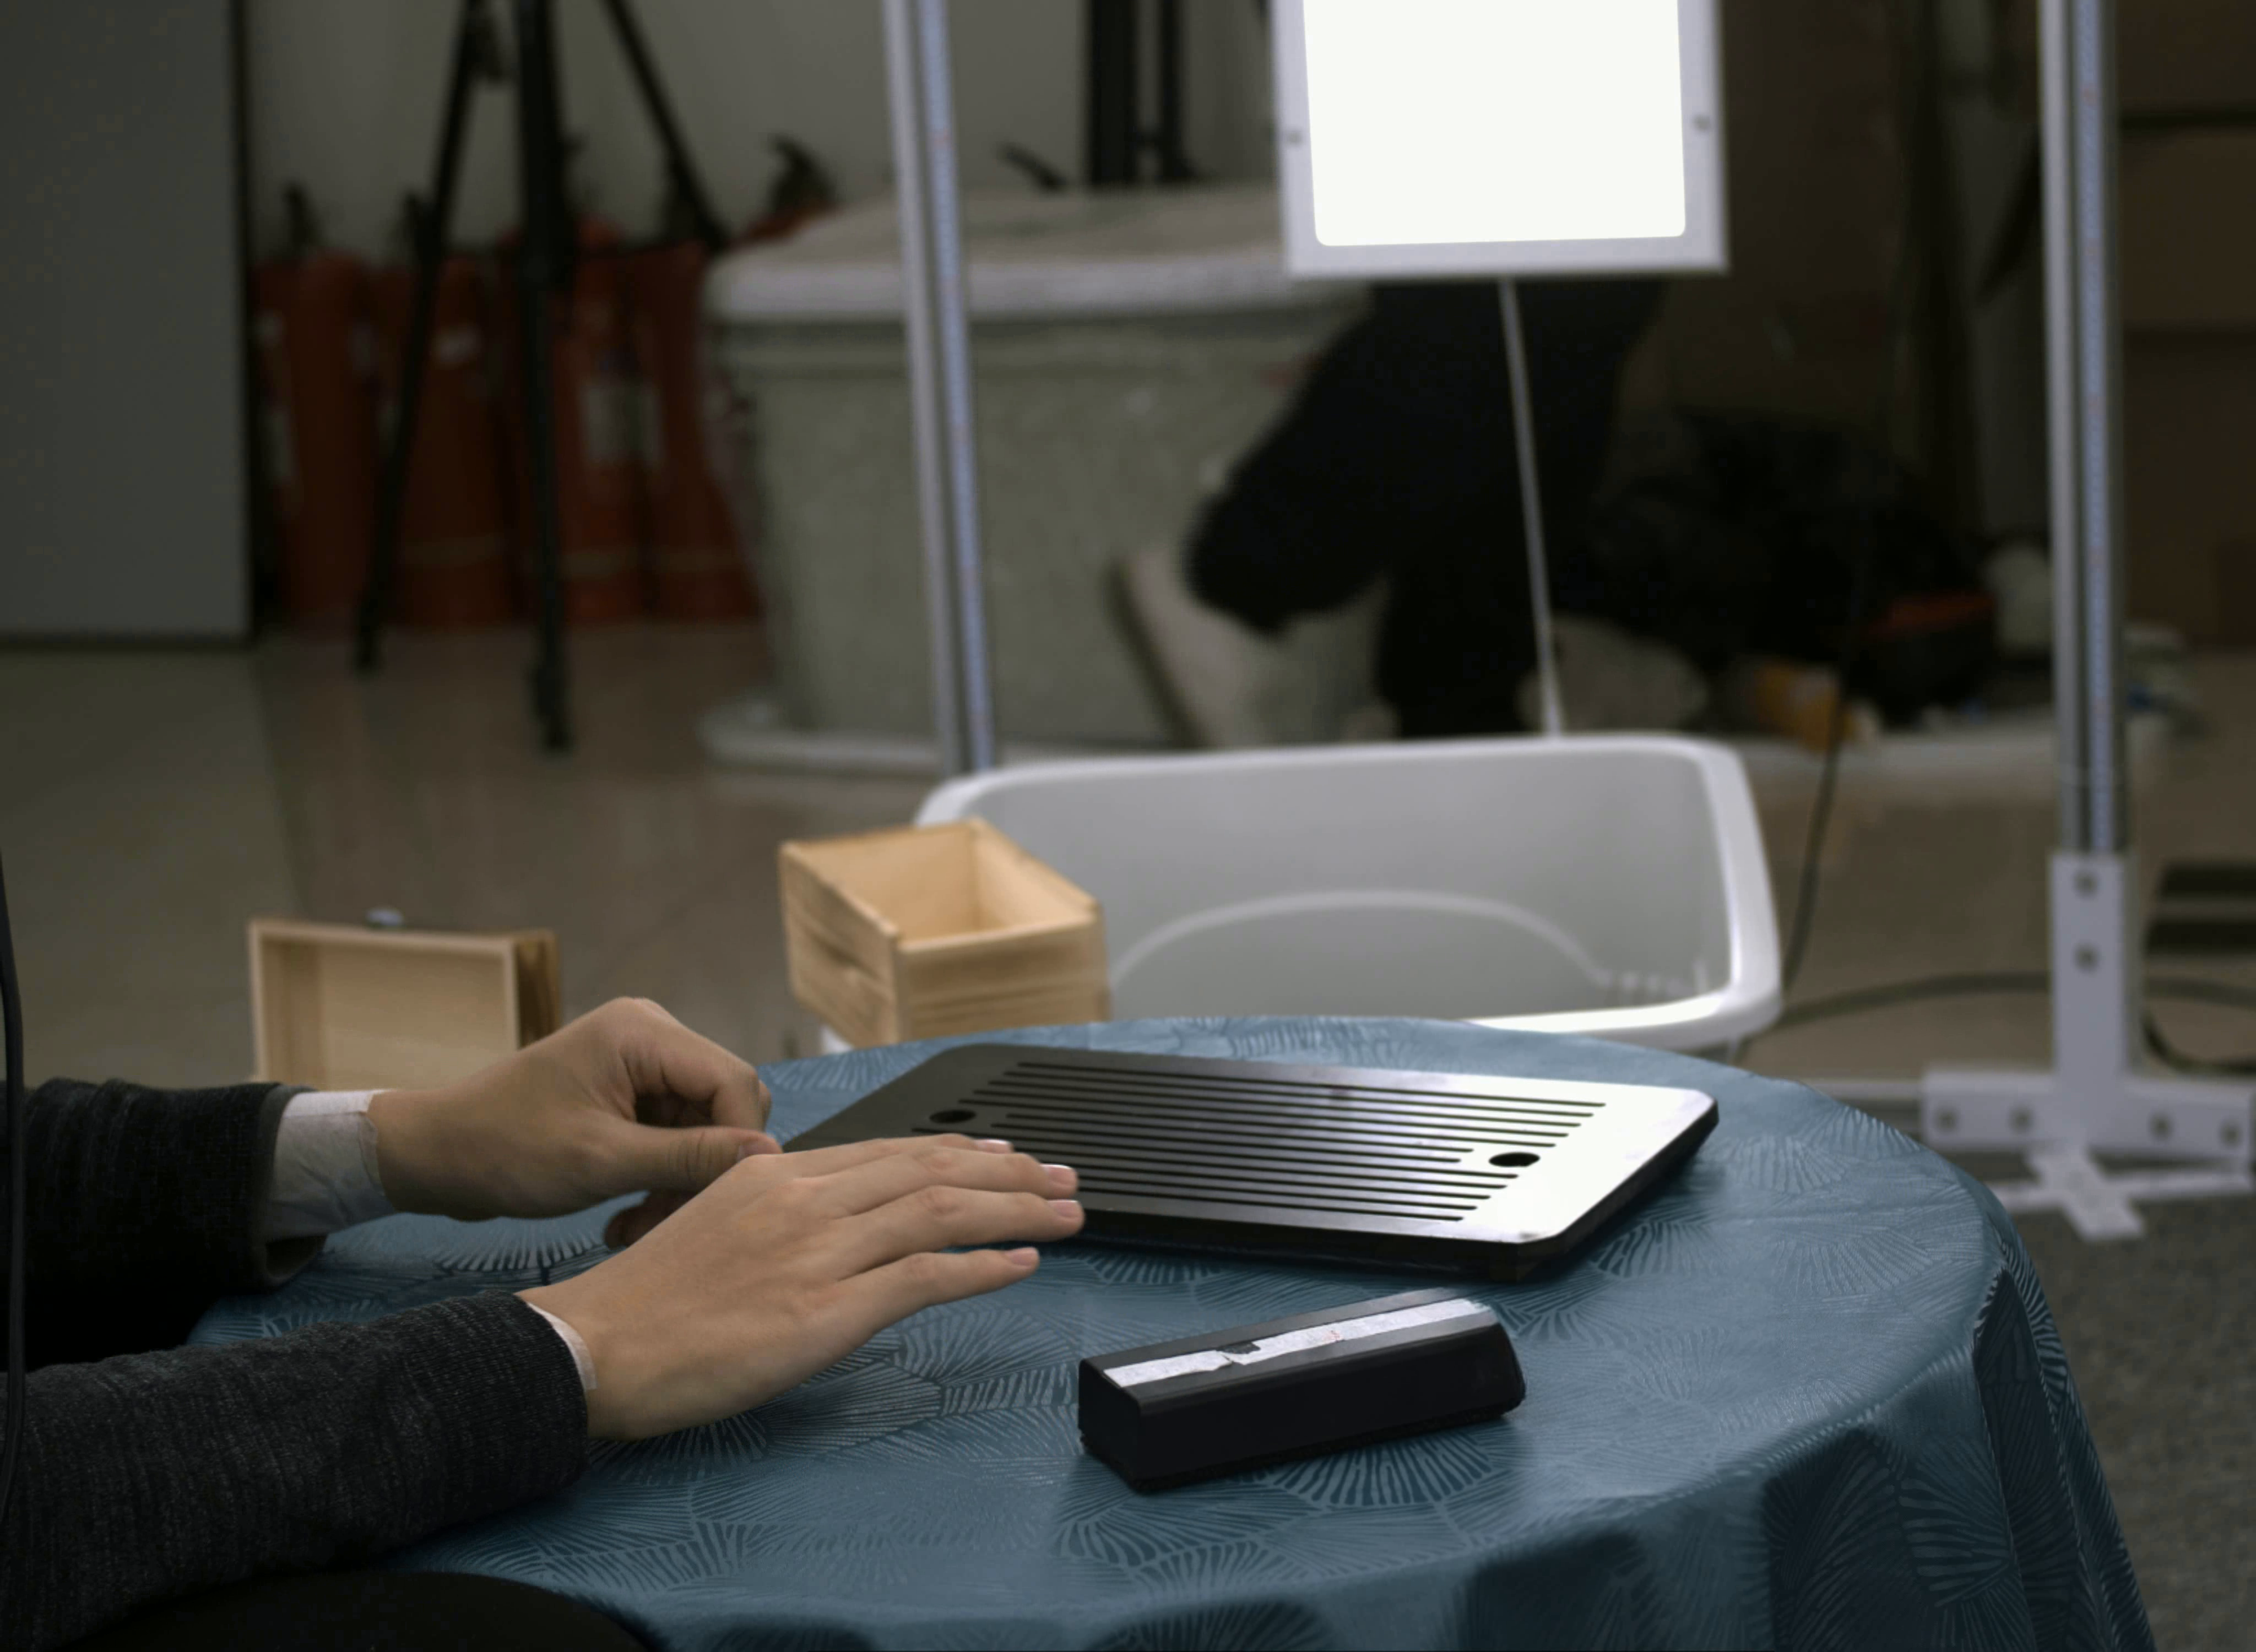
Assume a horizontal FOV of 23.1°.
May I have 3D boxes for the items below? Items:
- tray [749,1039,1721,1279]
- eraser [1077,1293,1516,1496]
[{"bbox_3d":[0.037,0.113,1.901,0.311,0.019,0.166,2,16,29],"label":"tray"},{"bbox_3d":[0.052,0.169,1.648,0.123,0.030,0.054,-11,12,-19],"label":"eraser"}]
